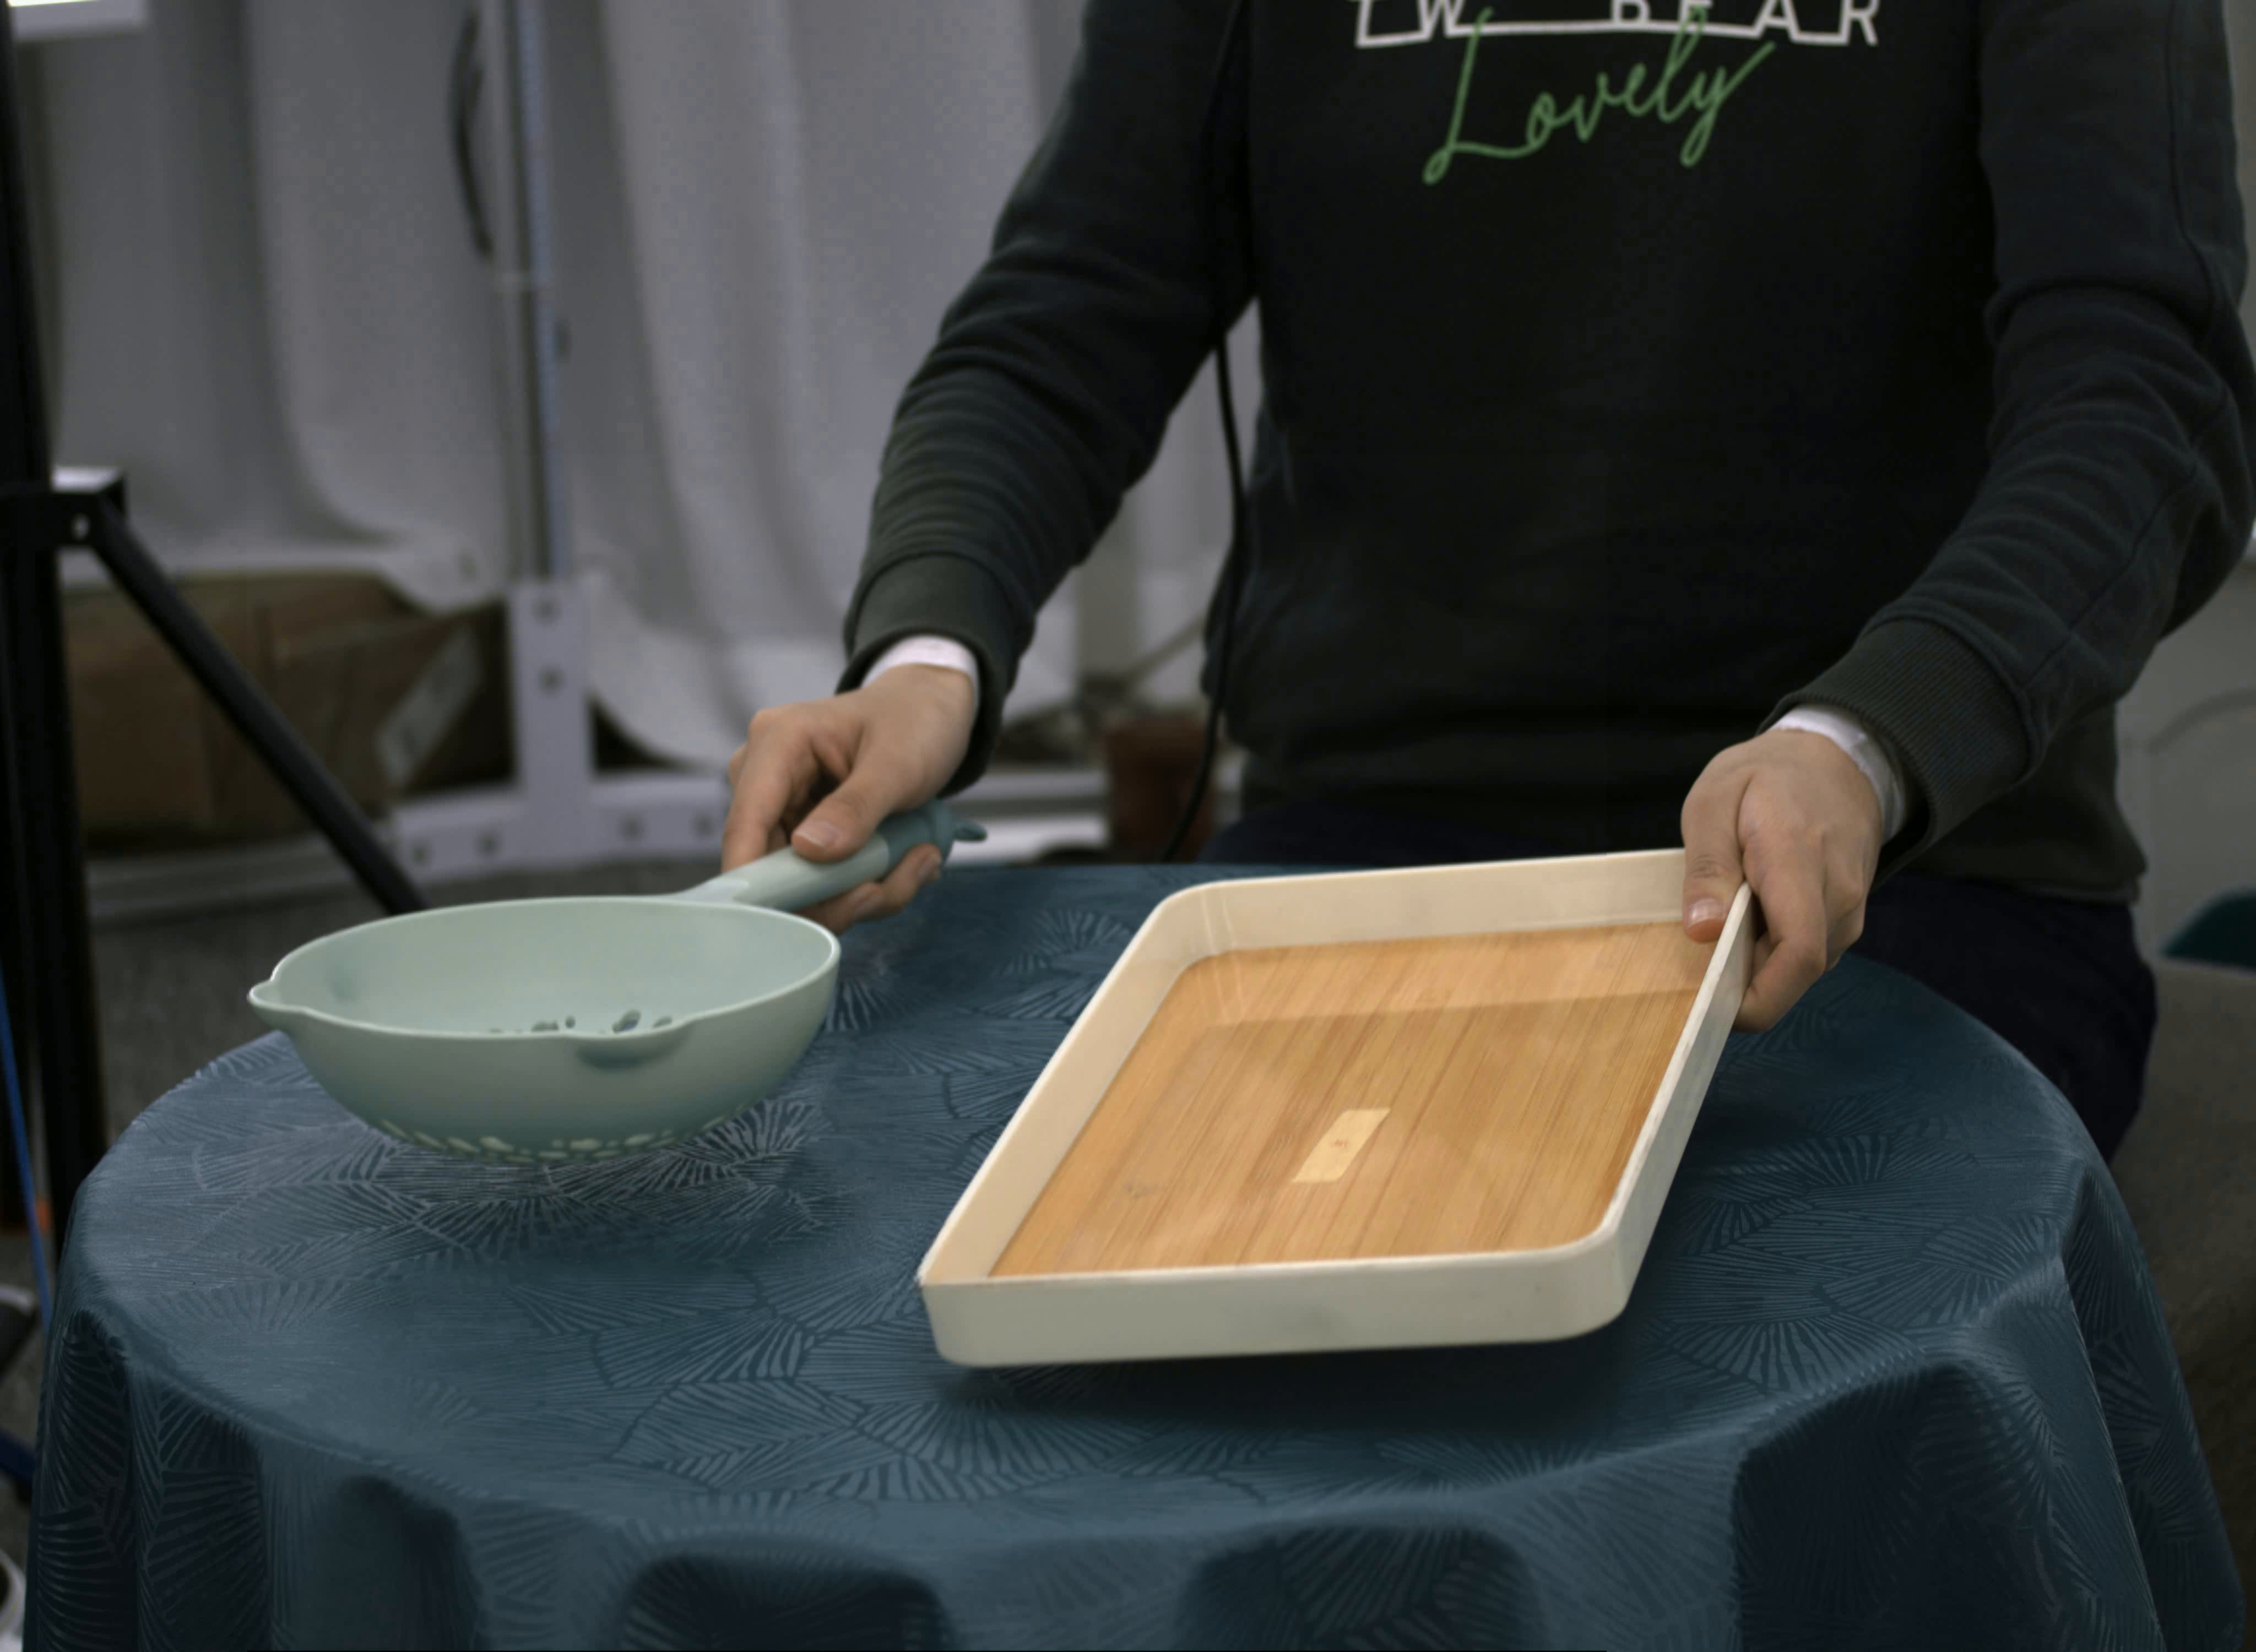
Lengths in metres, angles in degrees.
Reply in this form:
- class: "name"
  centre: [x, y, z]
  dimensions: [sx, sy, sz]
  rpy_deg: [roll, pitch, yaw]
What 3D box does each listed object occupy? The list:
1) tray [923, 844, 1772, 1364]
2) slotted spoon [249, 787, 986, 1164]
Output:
- class: "tray"
  centre: [0.070, 0.075, 1.498]
  dimensions: [0.193, 0.027, 0.298]
  rpy_deg: [-4, 19, 18]
- class: "slotted spoon"
  centre: [-0.129, 0.031, 1.671]
  dimensions: [0.172, 0.075, 0.354]
  rpy_deg: [4, 22, 24]
